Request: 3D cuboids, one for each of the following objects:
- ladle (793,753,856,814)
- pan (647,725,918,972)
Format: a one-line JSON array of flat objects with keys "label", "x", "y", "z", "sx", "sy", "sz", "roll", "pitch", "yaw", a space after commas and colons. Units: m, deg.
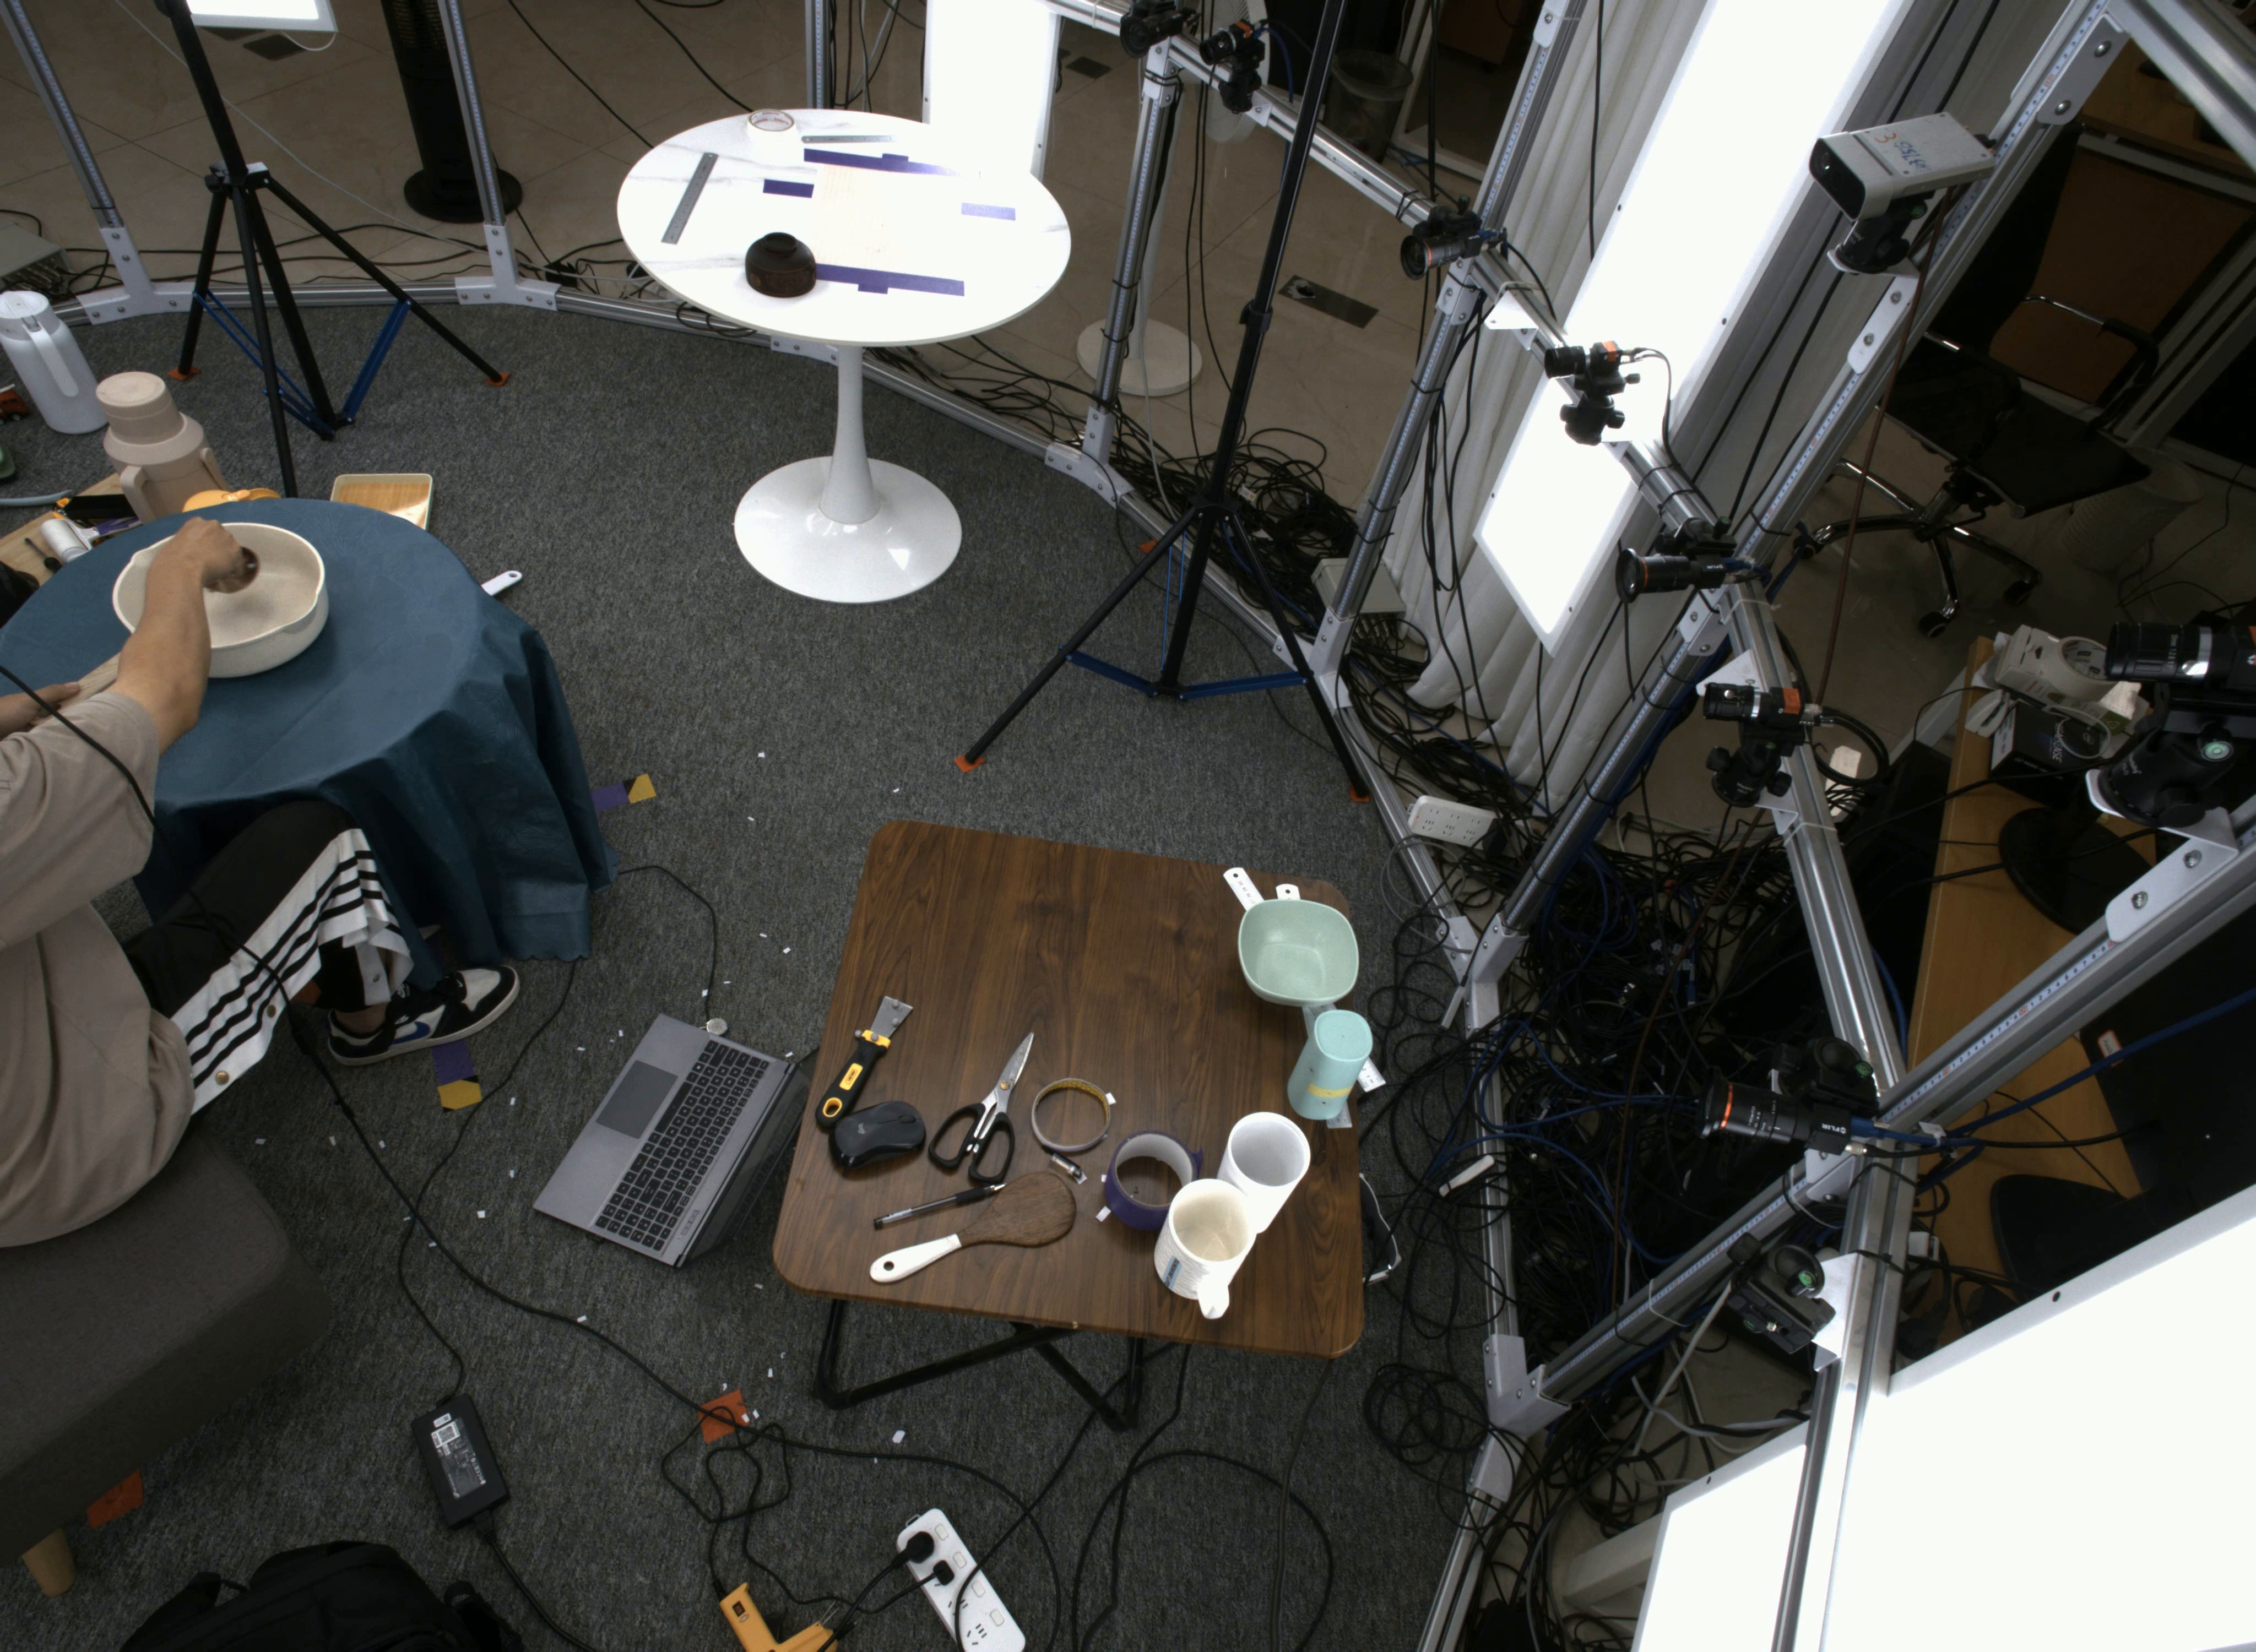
[{"label": "ladle", "x": -0.370, "y": -0.056, "z": 1.593, "sx": 0.082, "sy": 0.269, "sz": 0.078, "roll": -19, "pitch": 96, "yaw": -13}, {"label": "pan", "x": -0.446, "y": 0.044, "z": 1.633, "sx": 0.259, "sy": 0.104, "sz": 0.433, "roll": 31, "pitch": 53, "yaw": 9}]
